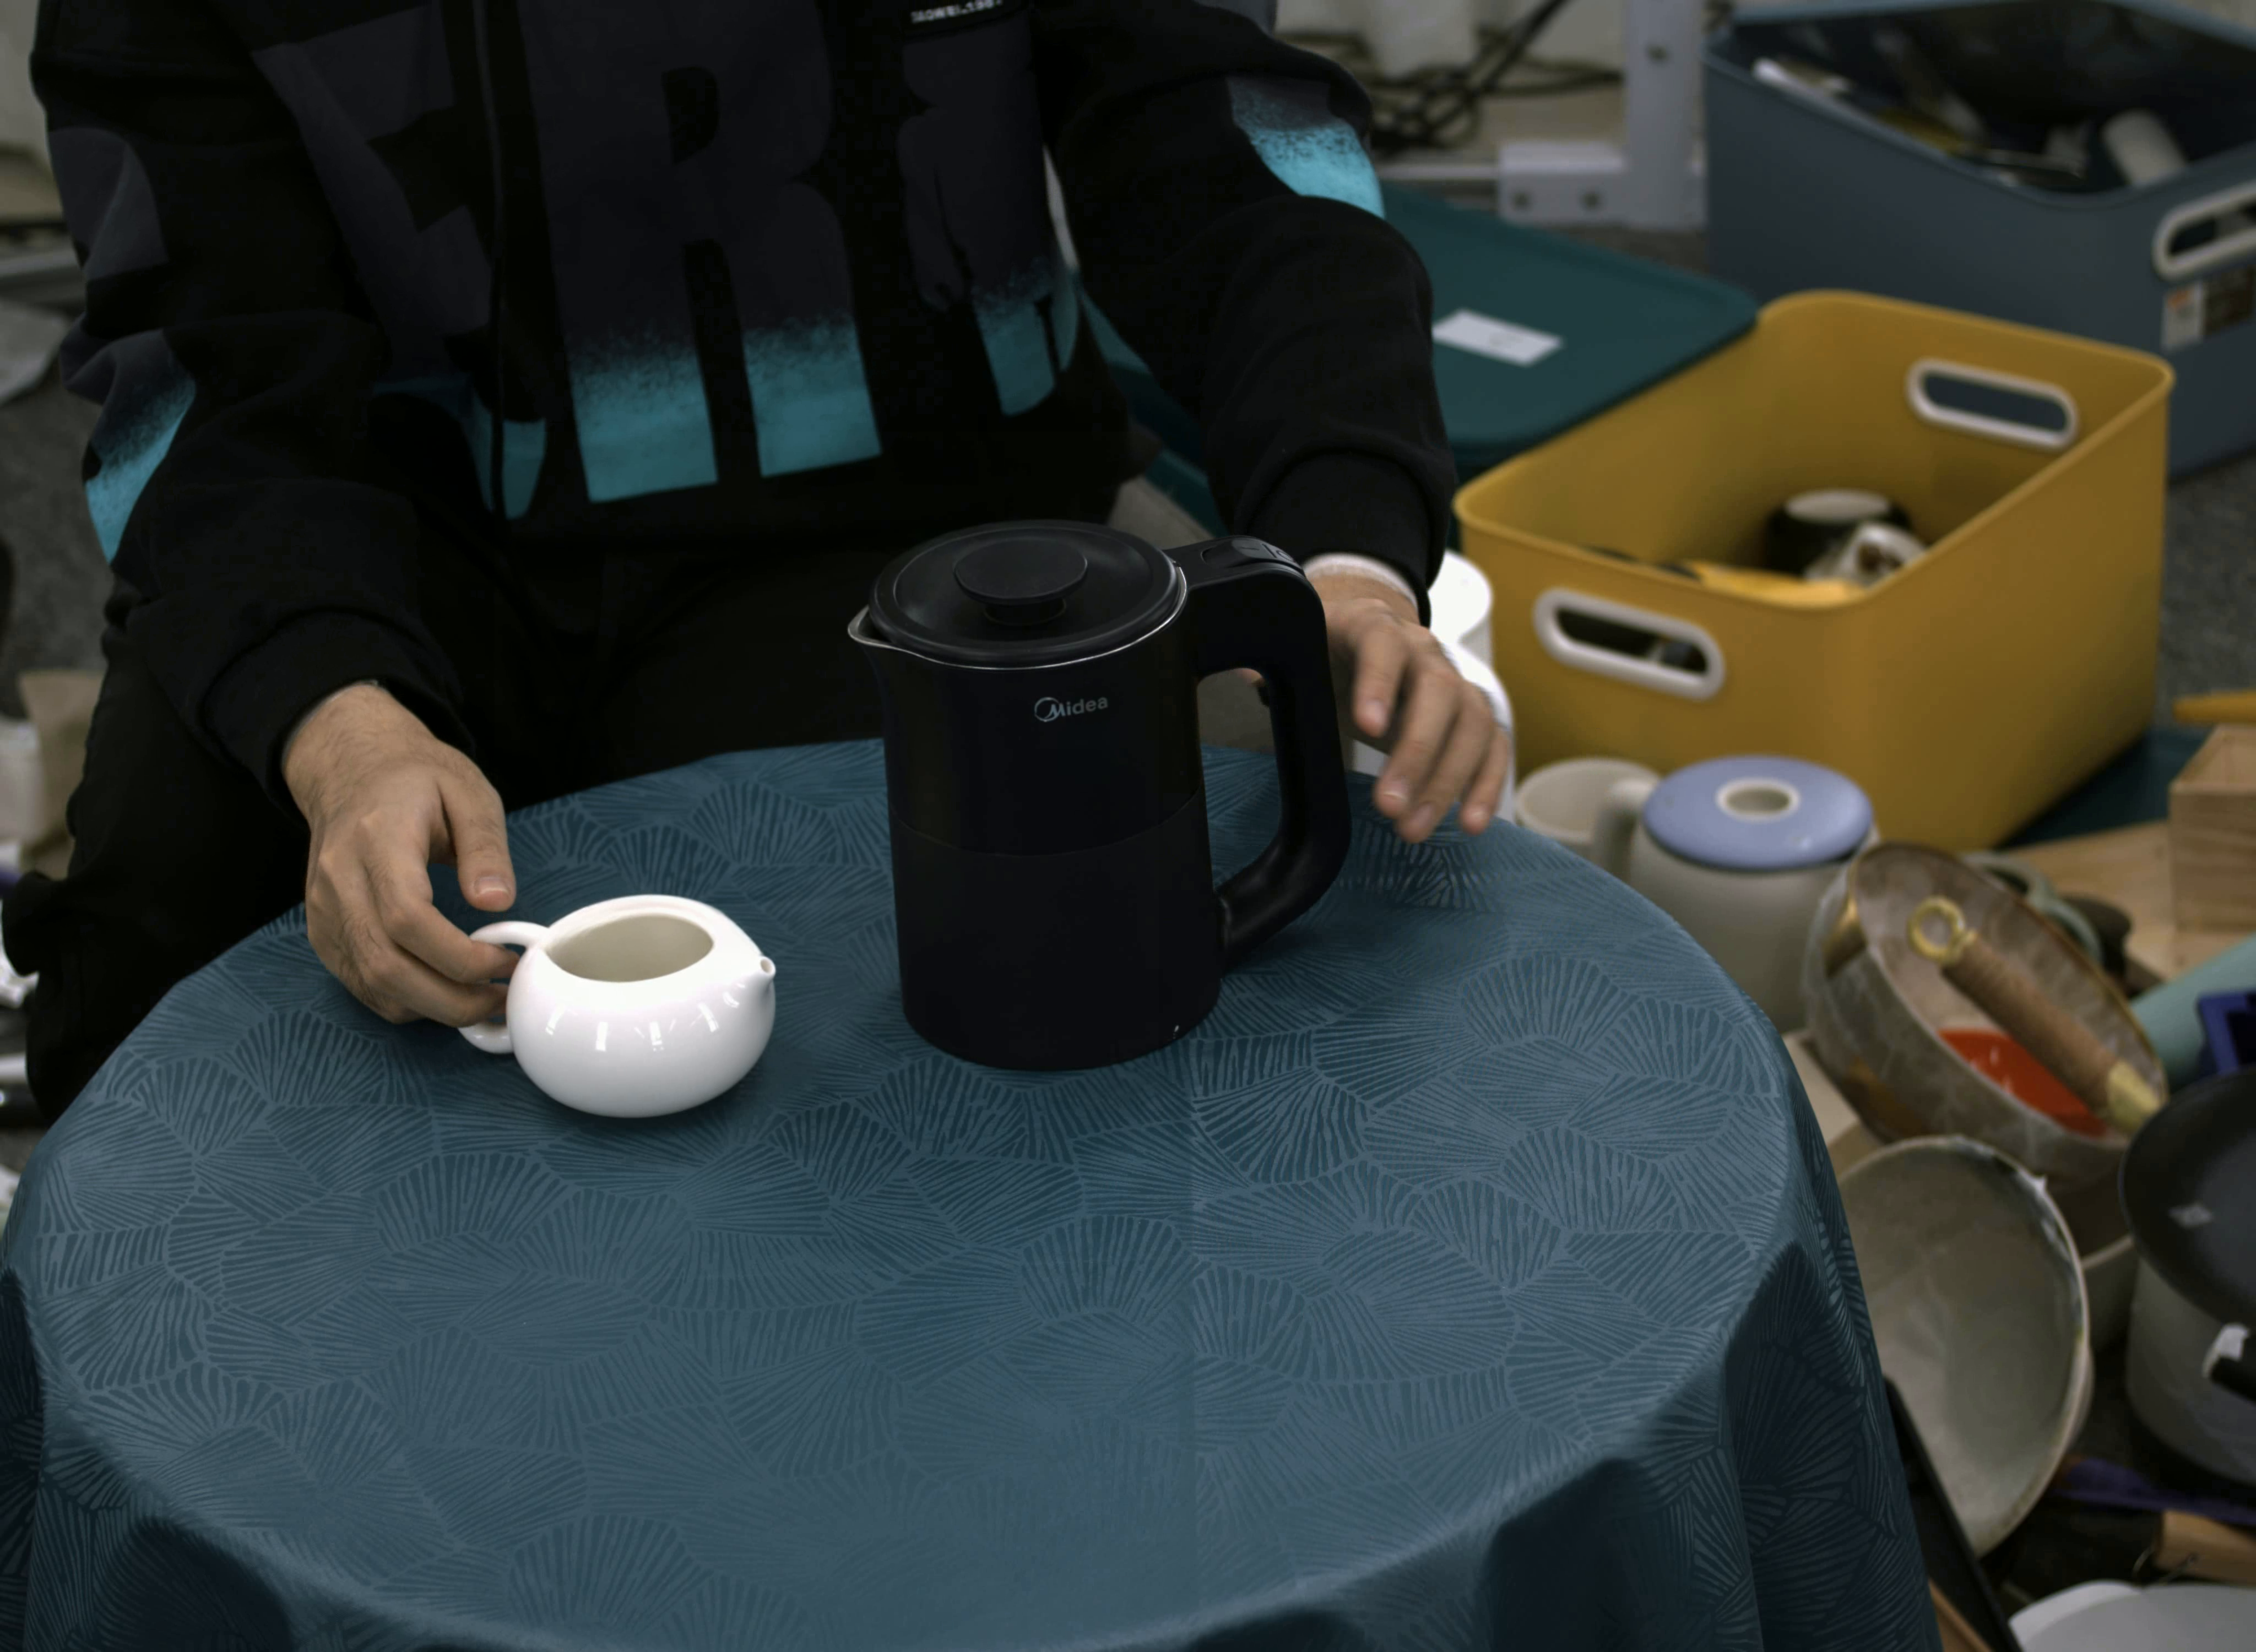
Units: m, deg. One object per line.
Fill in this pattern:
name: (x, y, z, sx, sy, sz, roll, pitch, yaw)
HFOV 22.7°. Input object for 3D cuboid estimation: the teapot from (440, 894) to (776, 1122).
teapot: (-0.178, 0.063, 1.933, 0.126, 0.056, 0.095, 3, 31, 13)

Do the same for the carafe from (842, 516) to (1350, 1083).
carafe: (-0.009, -0.020, 1.951, 0.172, 0.171, 0.115, -15, 27, -16)
